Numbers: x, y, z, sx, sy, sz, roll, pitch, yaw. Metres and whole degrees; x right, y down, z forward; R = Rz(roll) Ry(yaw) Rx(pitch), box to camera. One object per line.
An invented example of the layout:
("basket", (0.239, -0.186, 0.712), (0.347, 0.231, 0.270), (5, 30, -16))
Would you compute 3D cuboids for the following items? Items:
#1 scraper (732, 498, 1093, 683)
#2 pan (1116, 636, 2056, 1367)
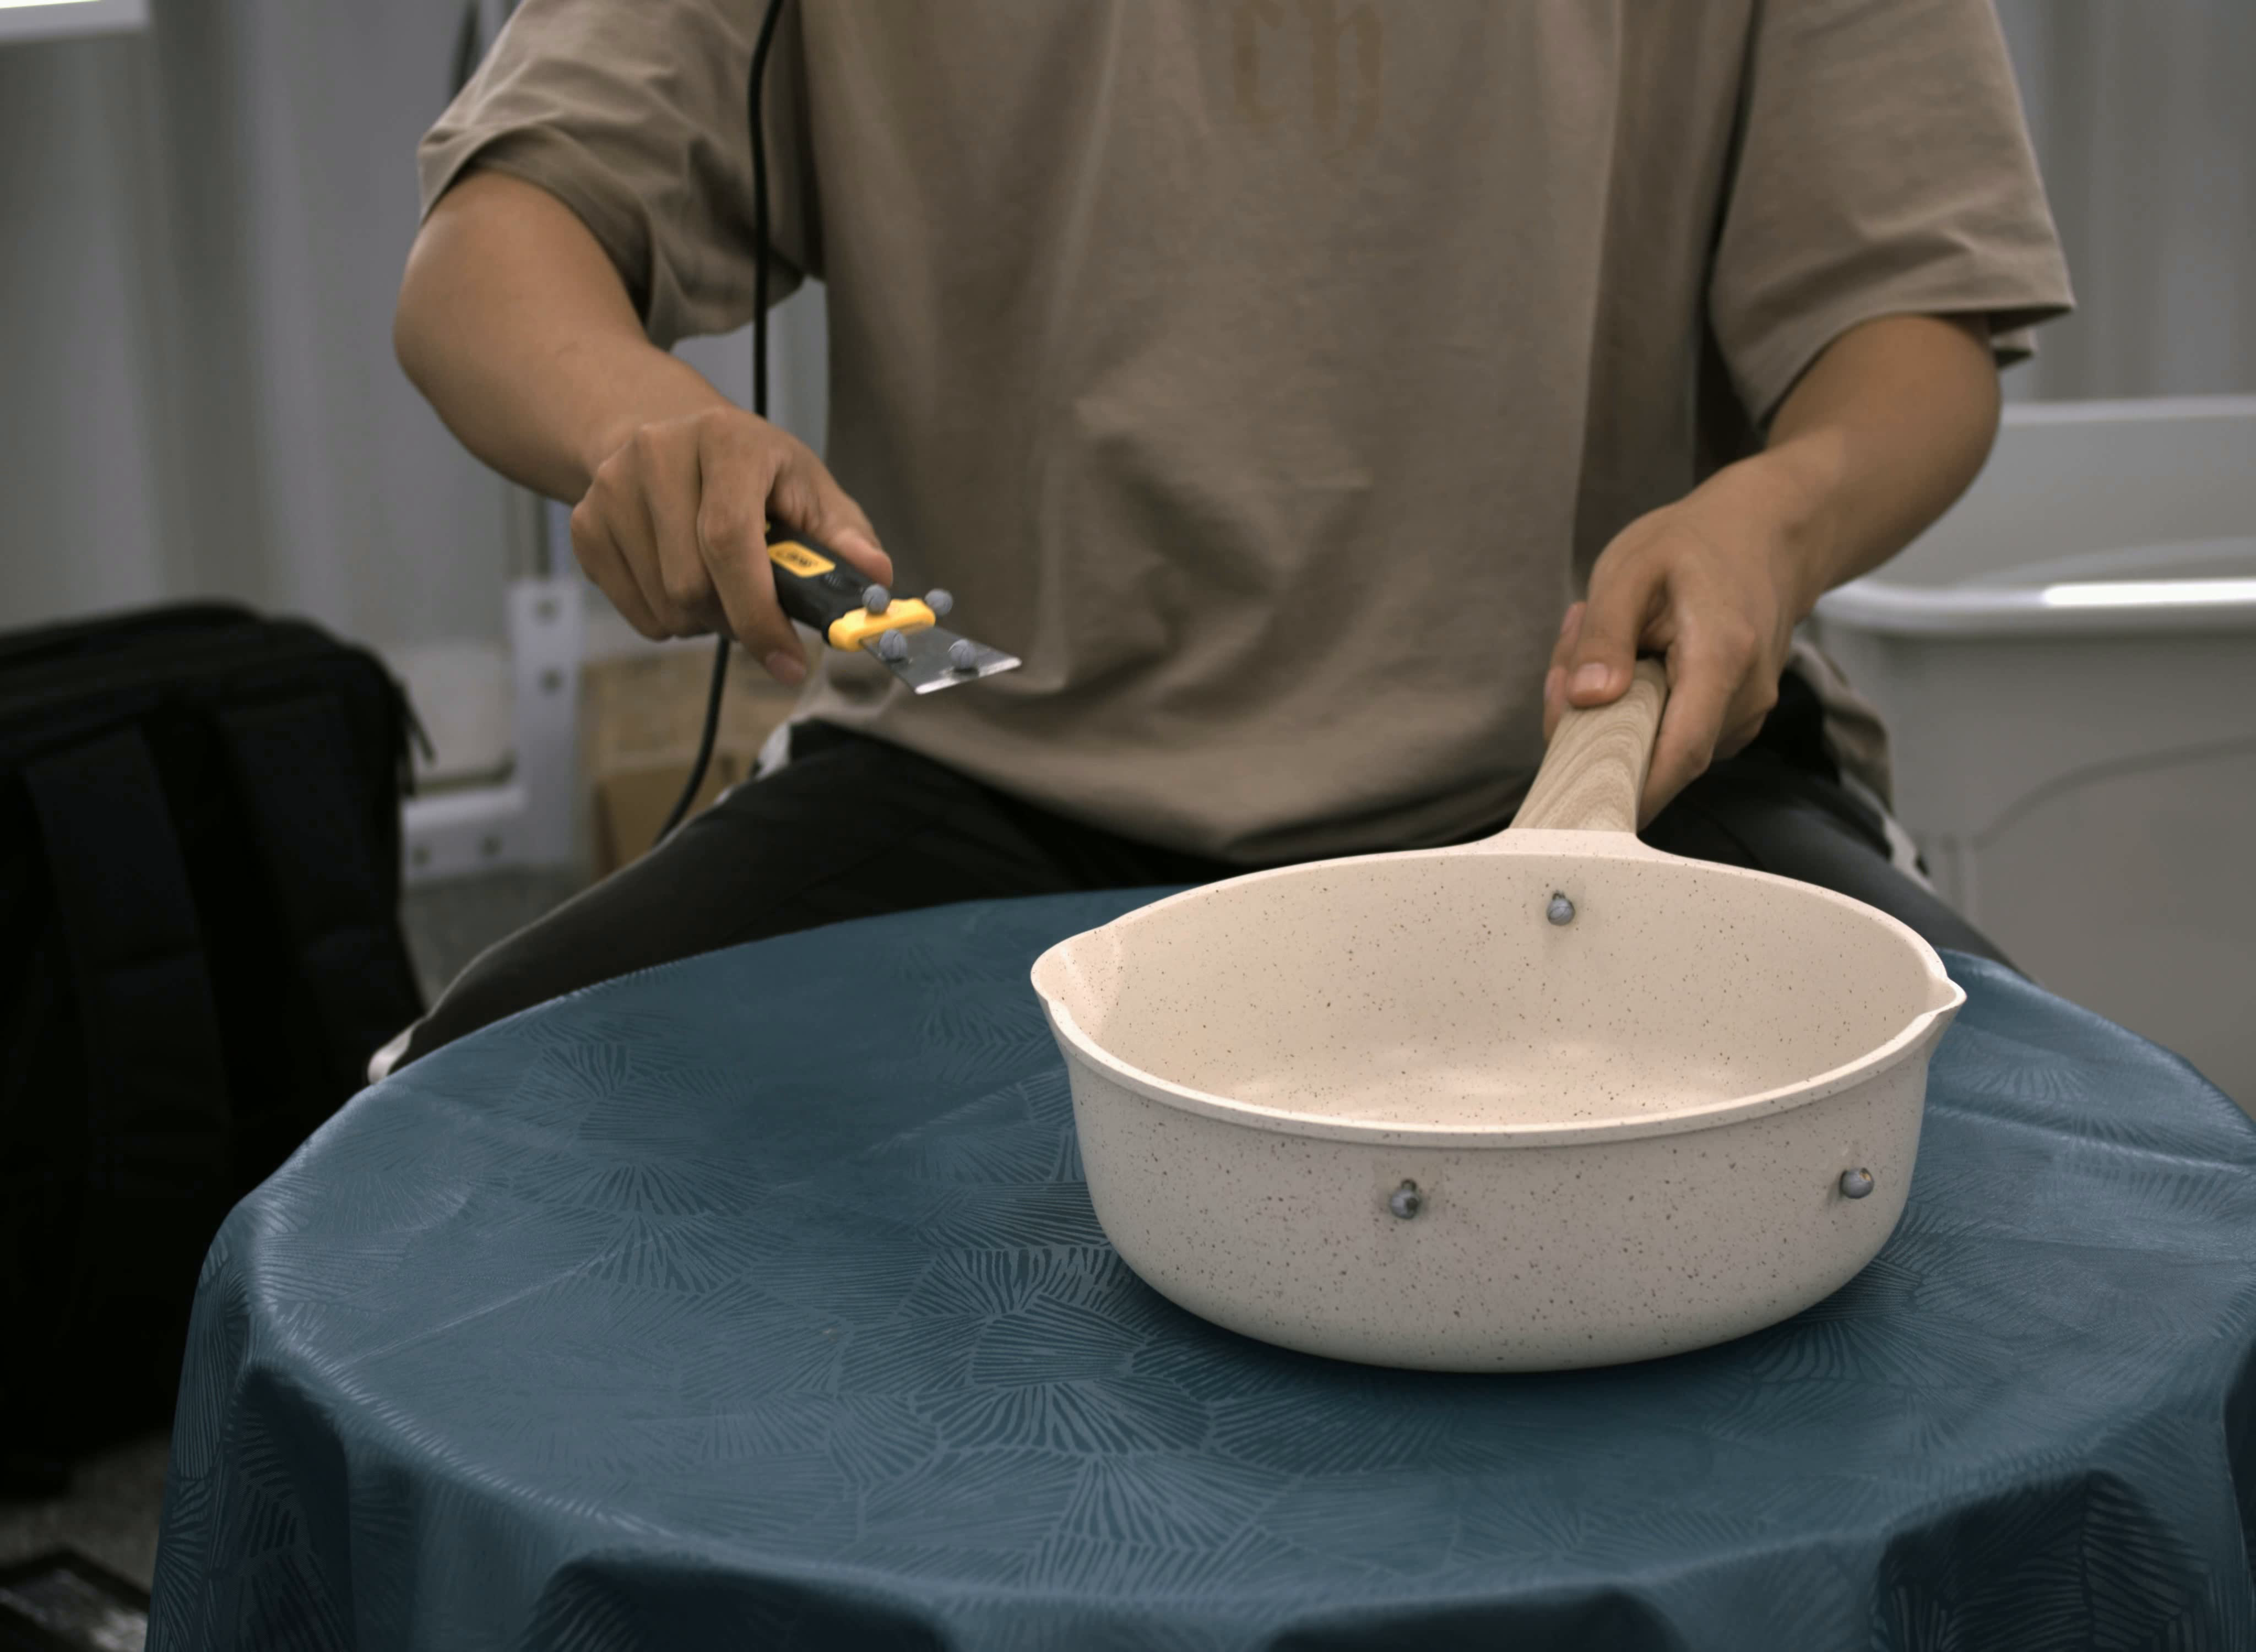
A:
("scraper", (-0.069, -0.071, 1.586), (0.038, 0.015, 0.175), (-24, 28, -24))
("pan", (0.147, 0.047, 1.566), (0.265, 0.102, 0.432), (-1, 16, 14))
